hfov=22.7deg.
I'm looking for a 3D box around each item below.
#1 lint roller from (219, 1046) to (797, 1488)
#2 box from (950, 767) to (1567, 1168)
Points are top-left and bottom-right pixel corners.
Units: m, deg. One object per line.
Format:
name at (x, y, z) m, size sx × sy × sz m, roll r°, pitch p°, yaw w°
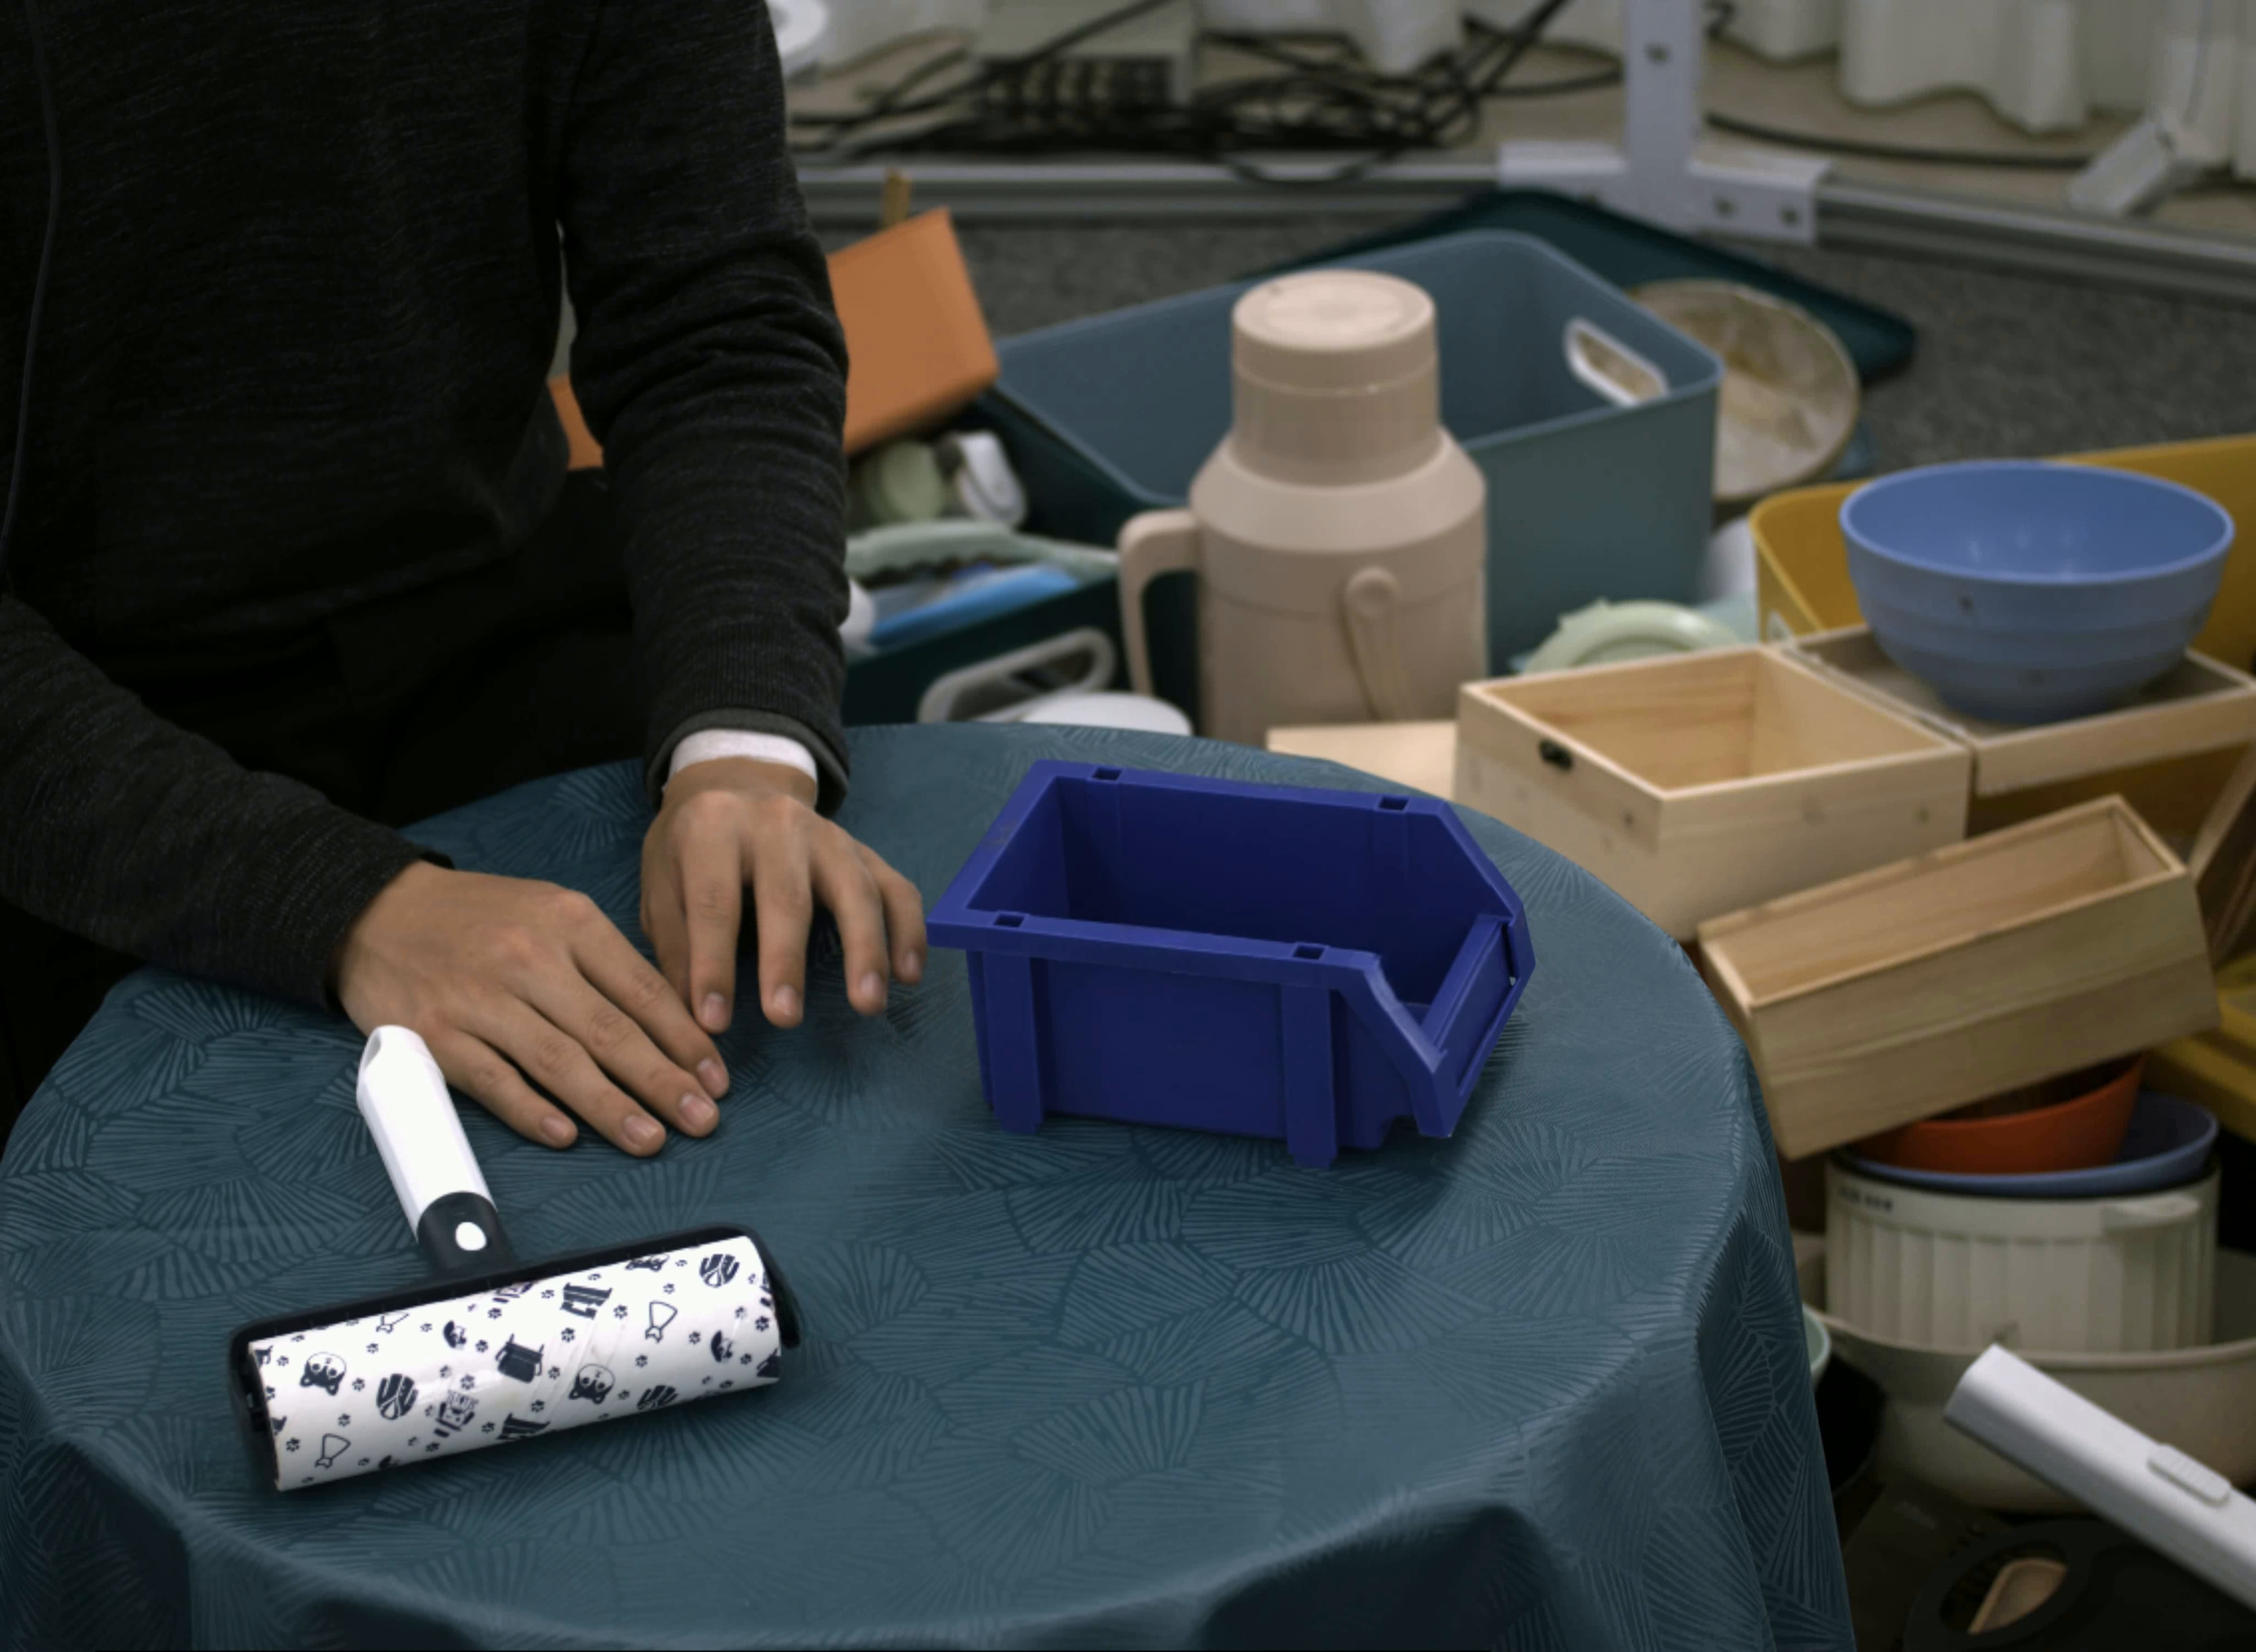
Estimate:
lint roller at (-0.222, 0.126, 1.830) m, size 0.176 × 0.050 × 0.249 m, roll -12°, pitch 27°, yaw -15°
box at (0.047, 0.047, 1.913) m, size 0.178 × 0.081 × 0.126 m, roll 4°, pitch 27°, yaw 19°
